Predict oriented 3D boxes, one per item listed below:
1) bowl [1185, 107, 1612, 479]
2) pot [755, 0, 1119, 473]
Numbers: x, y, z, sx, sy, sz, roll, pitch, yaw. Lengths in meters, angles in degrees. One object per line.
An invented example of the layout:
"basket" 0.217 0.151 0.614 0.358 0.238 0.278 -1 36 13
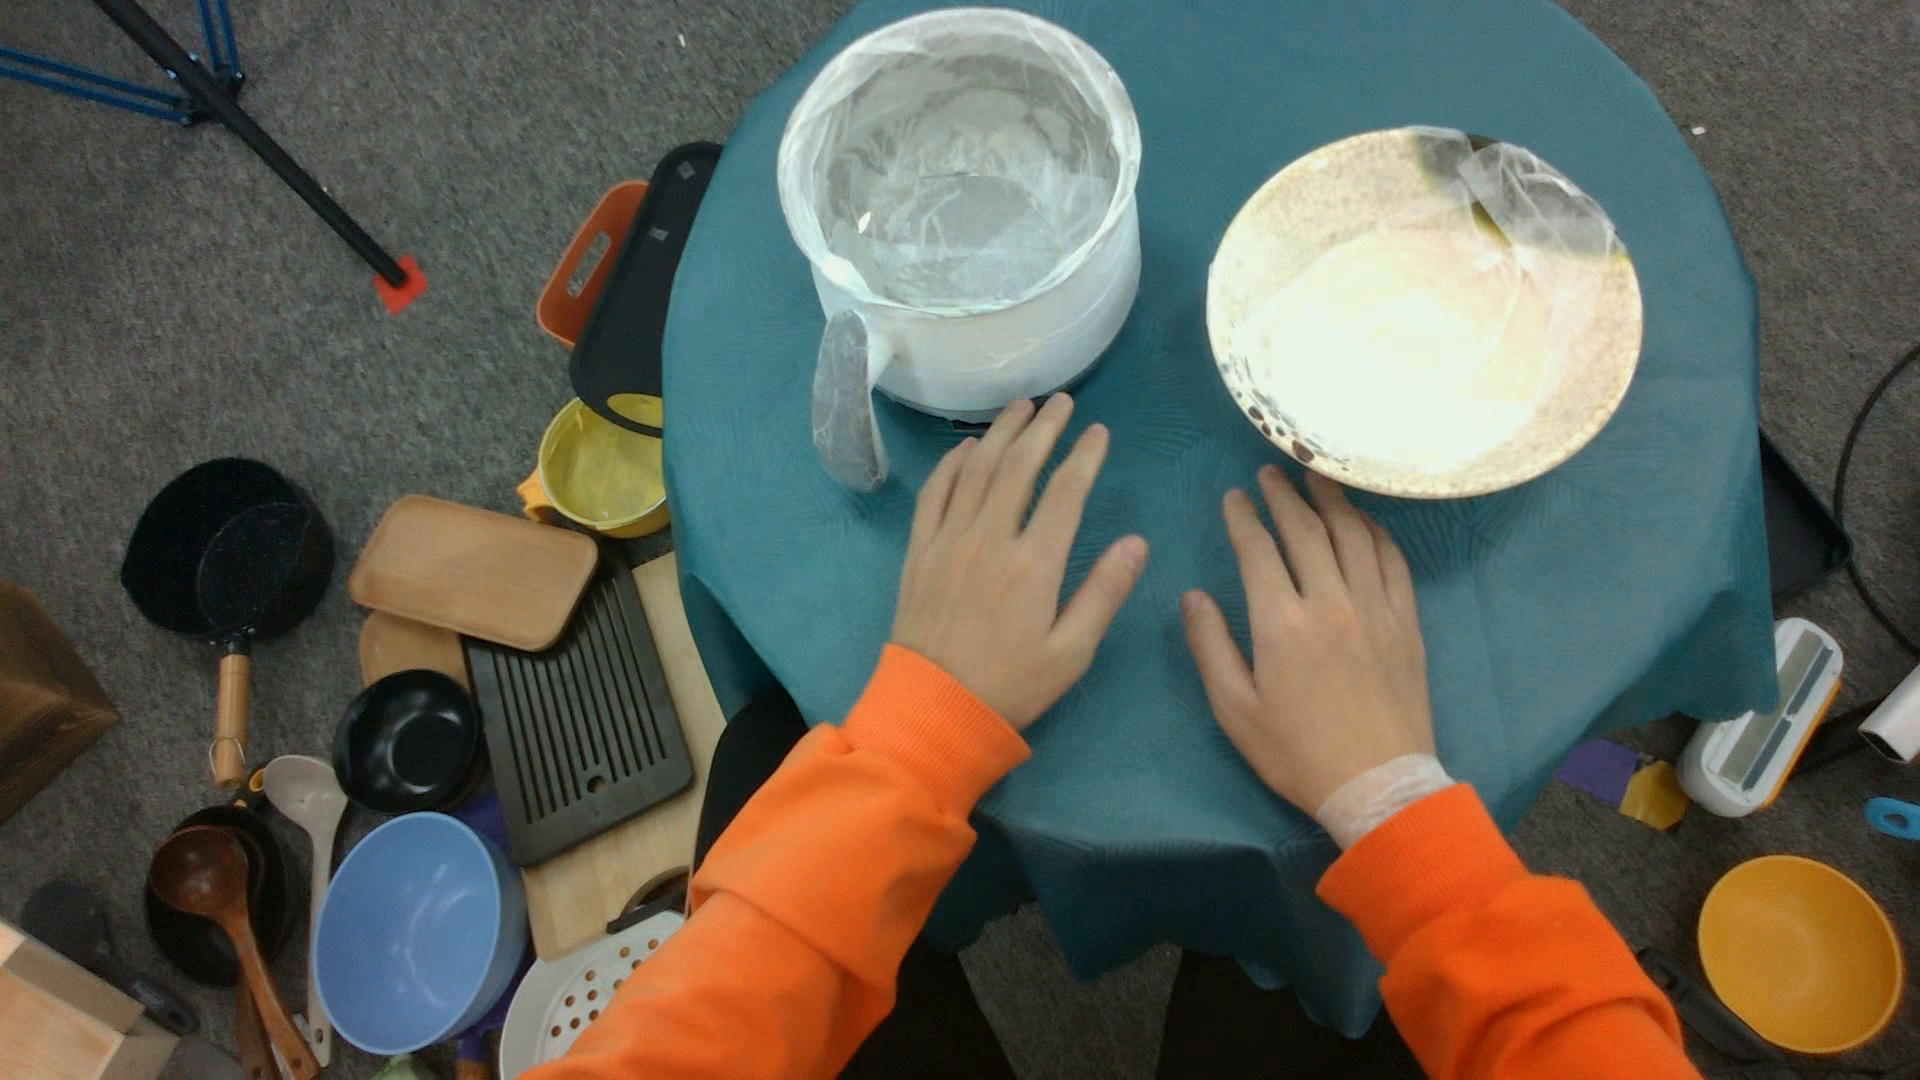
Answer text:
"bowl" 0.218 -0.115 0.710 0.204 0.078 0.204 -2 72 6
"pot" -0.018 -0.150 0.717 0.178 0.136 0.234 25 74 15
